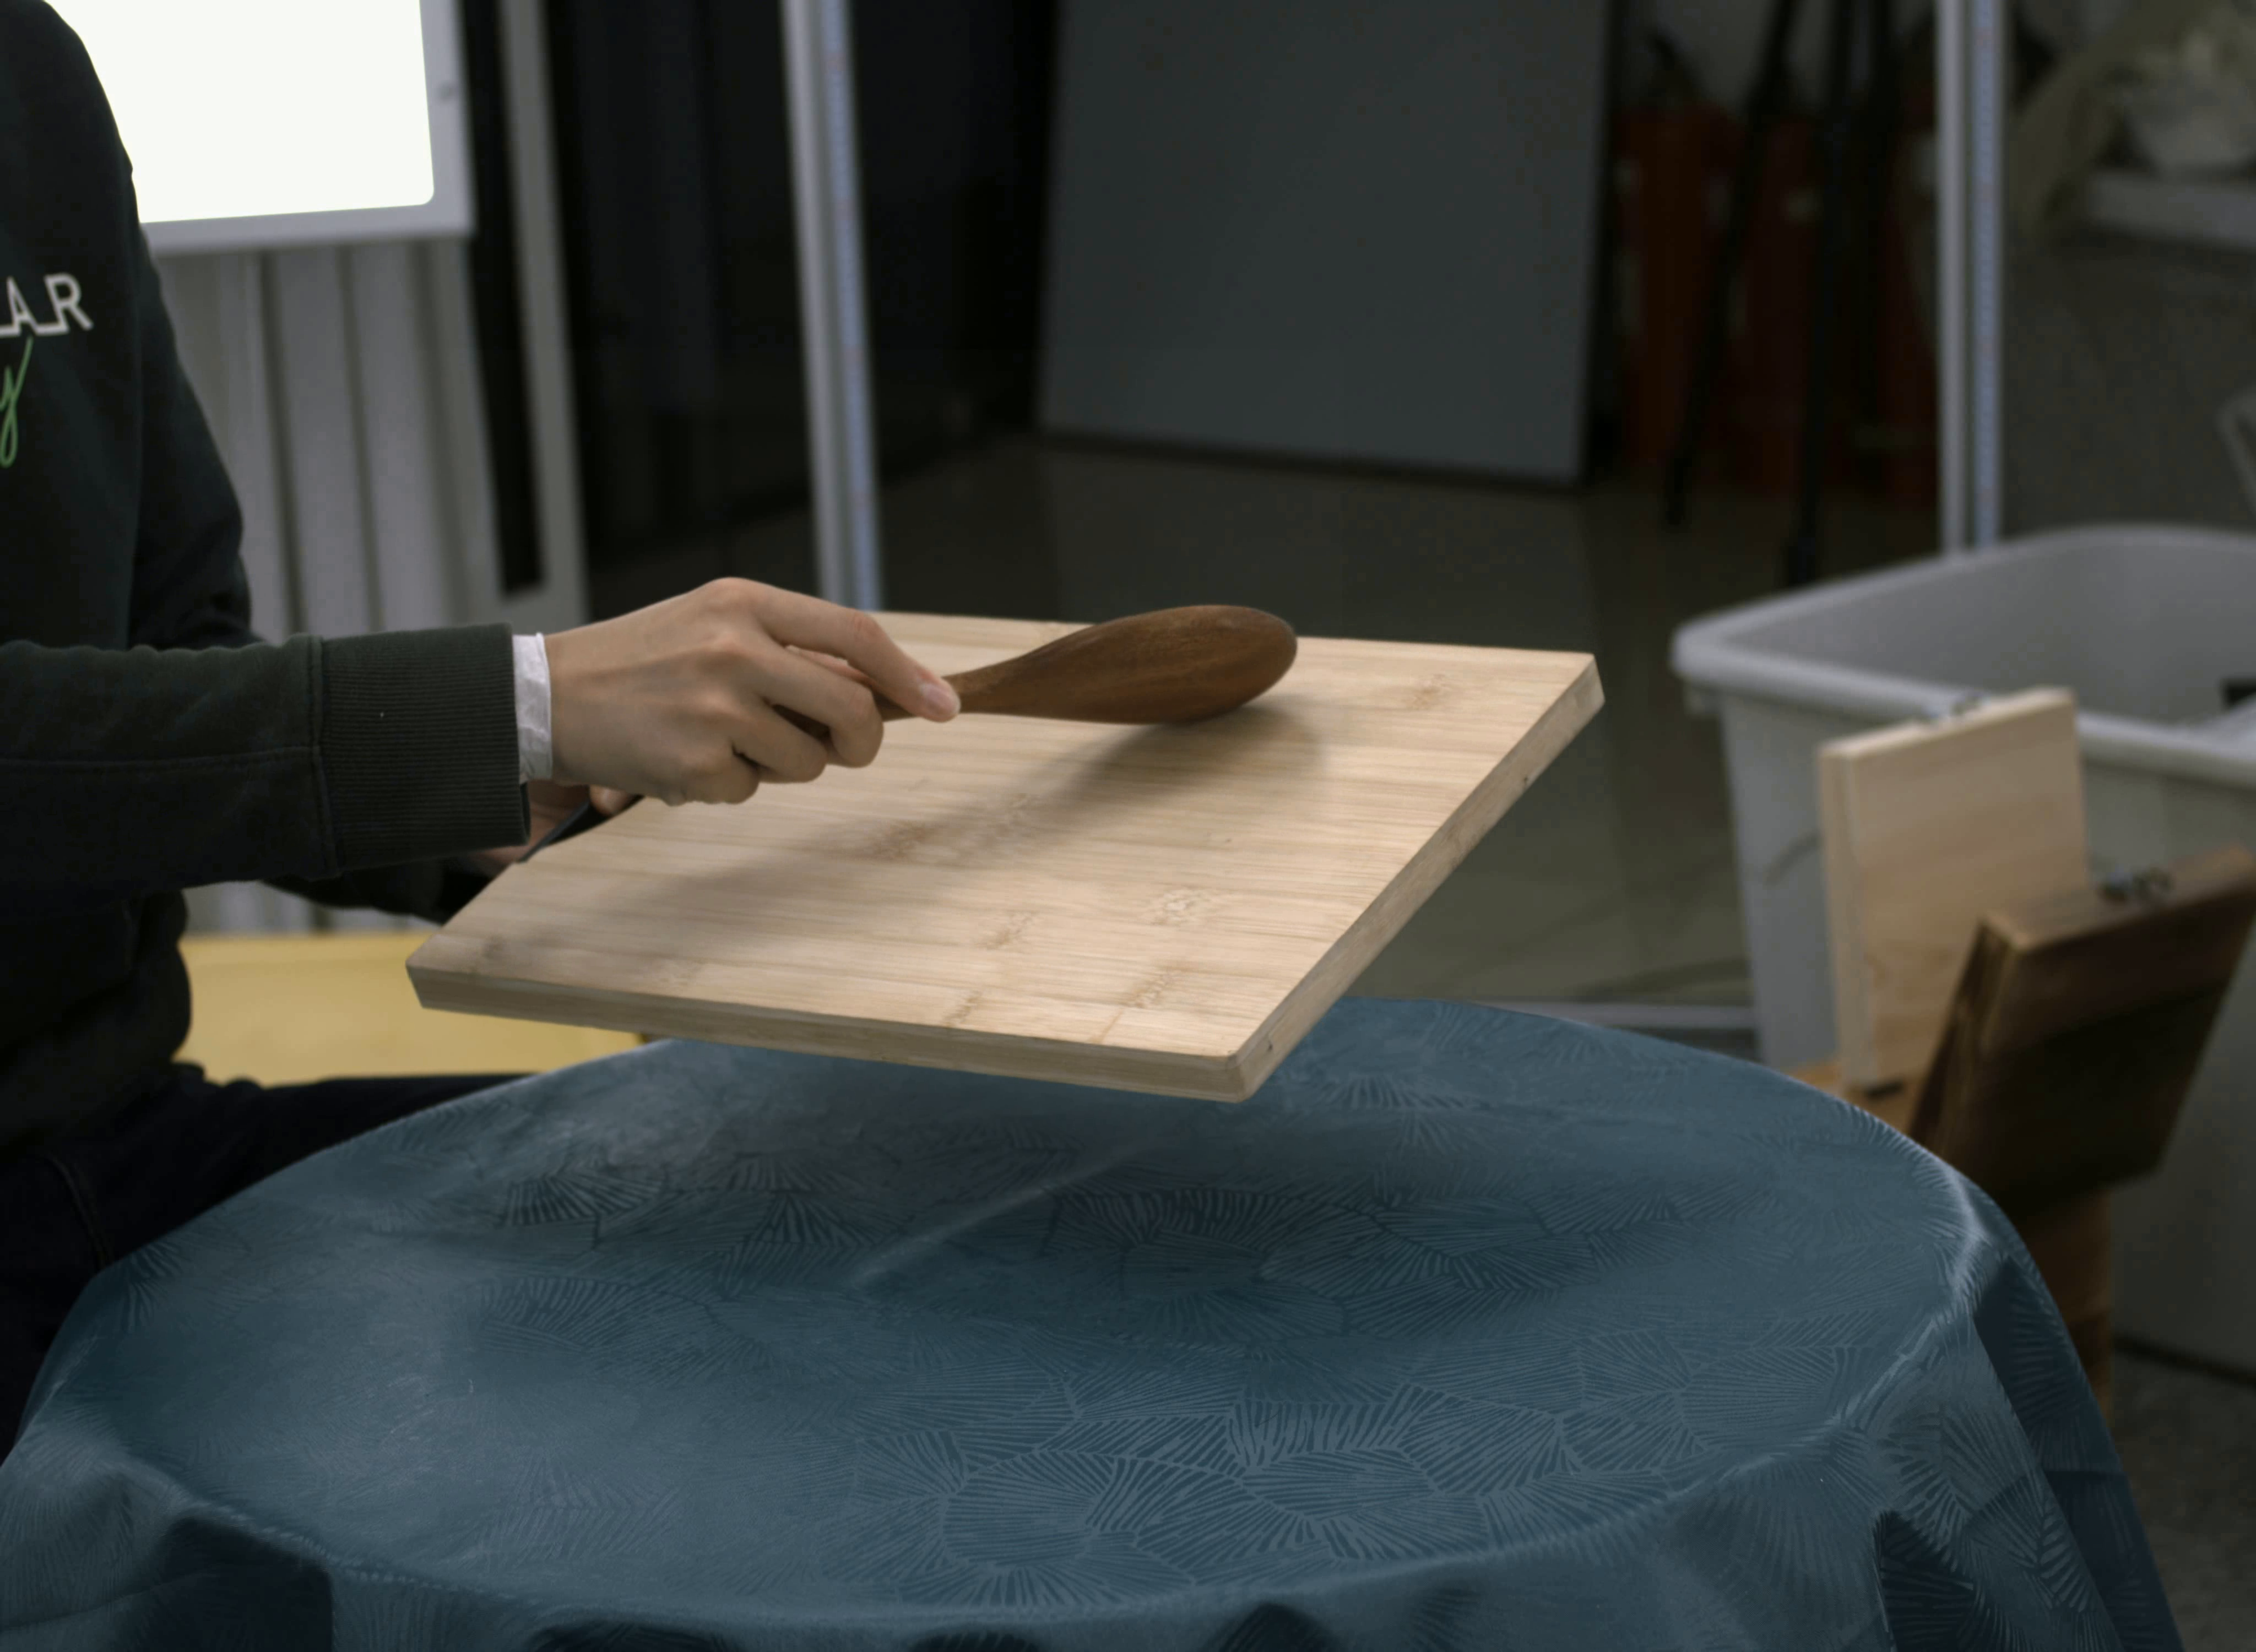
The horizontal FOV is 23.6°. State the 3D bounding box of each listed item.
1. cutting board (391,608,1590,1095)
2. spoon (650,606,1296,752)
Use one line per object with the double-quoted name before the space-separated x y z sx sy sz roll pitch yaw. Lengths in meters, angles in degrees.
"cutting board" -0.047 0.001 1.792 0.351 0.023 0.248 3 34 36
"spoon" -0.050 -0.044 1.767 0.213 0.017 0.075 -6 -21 -2
